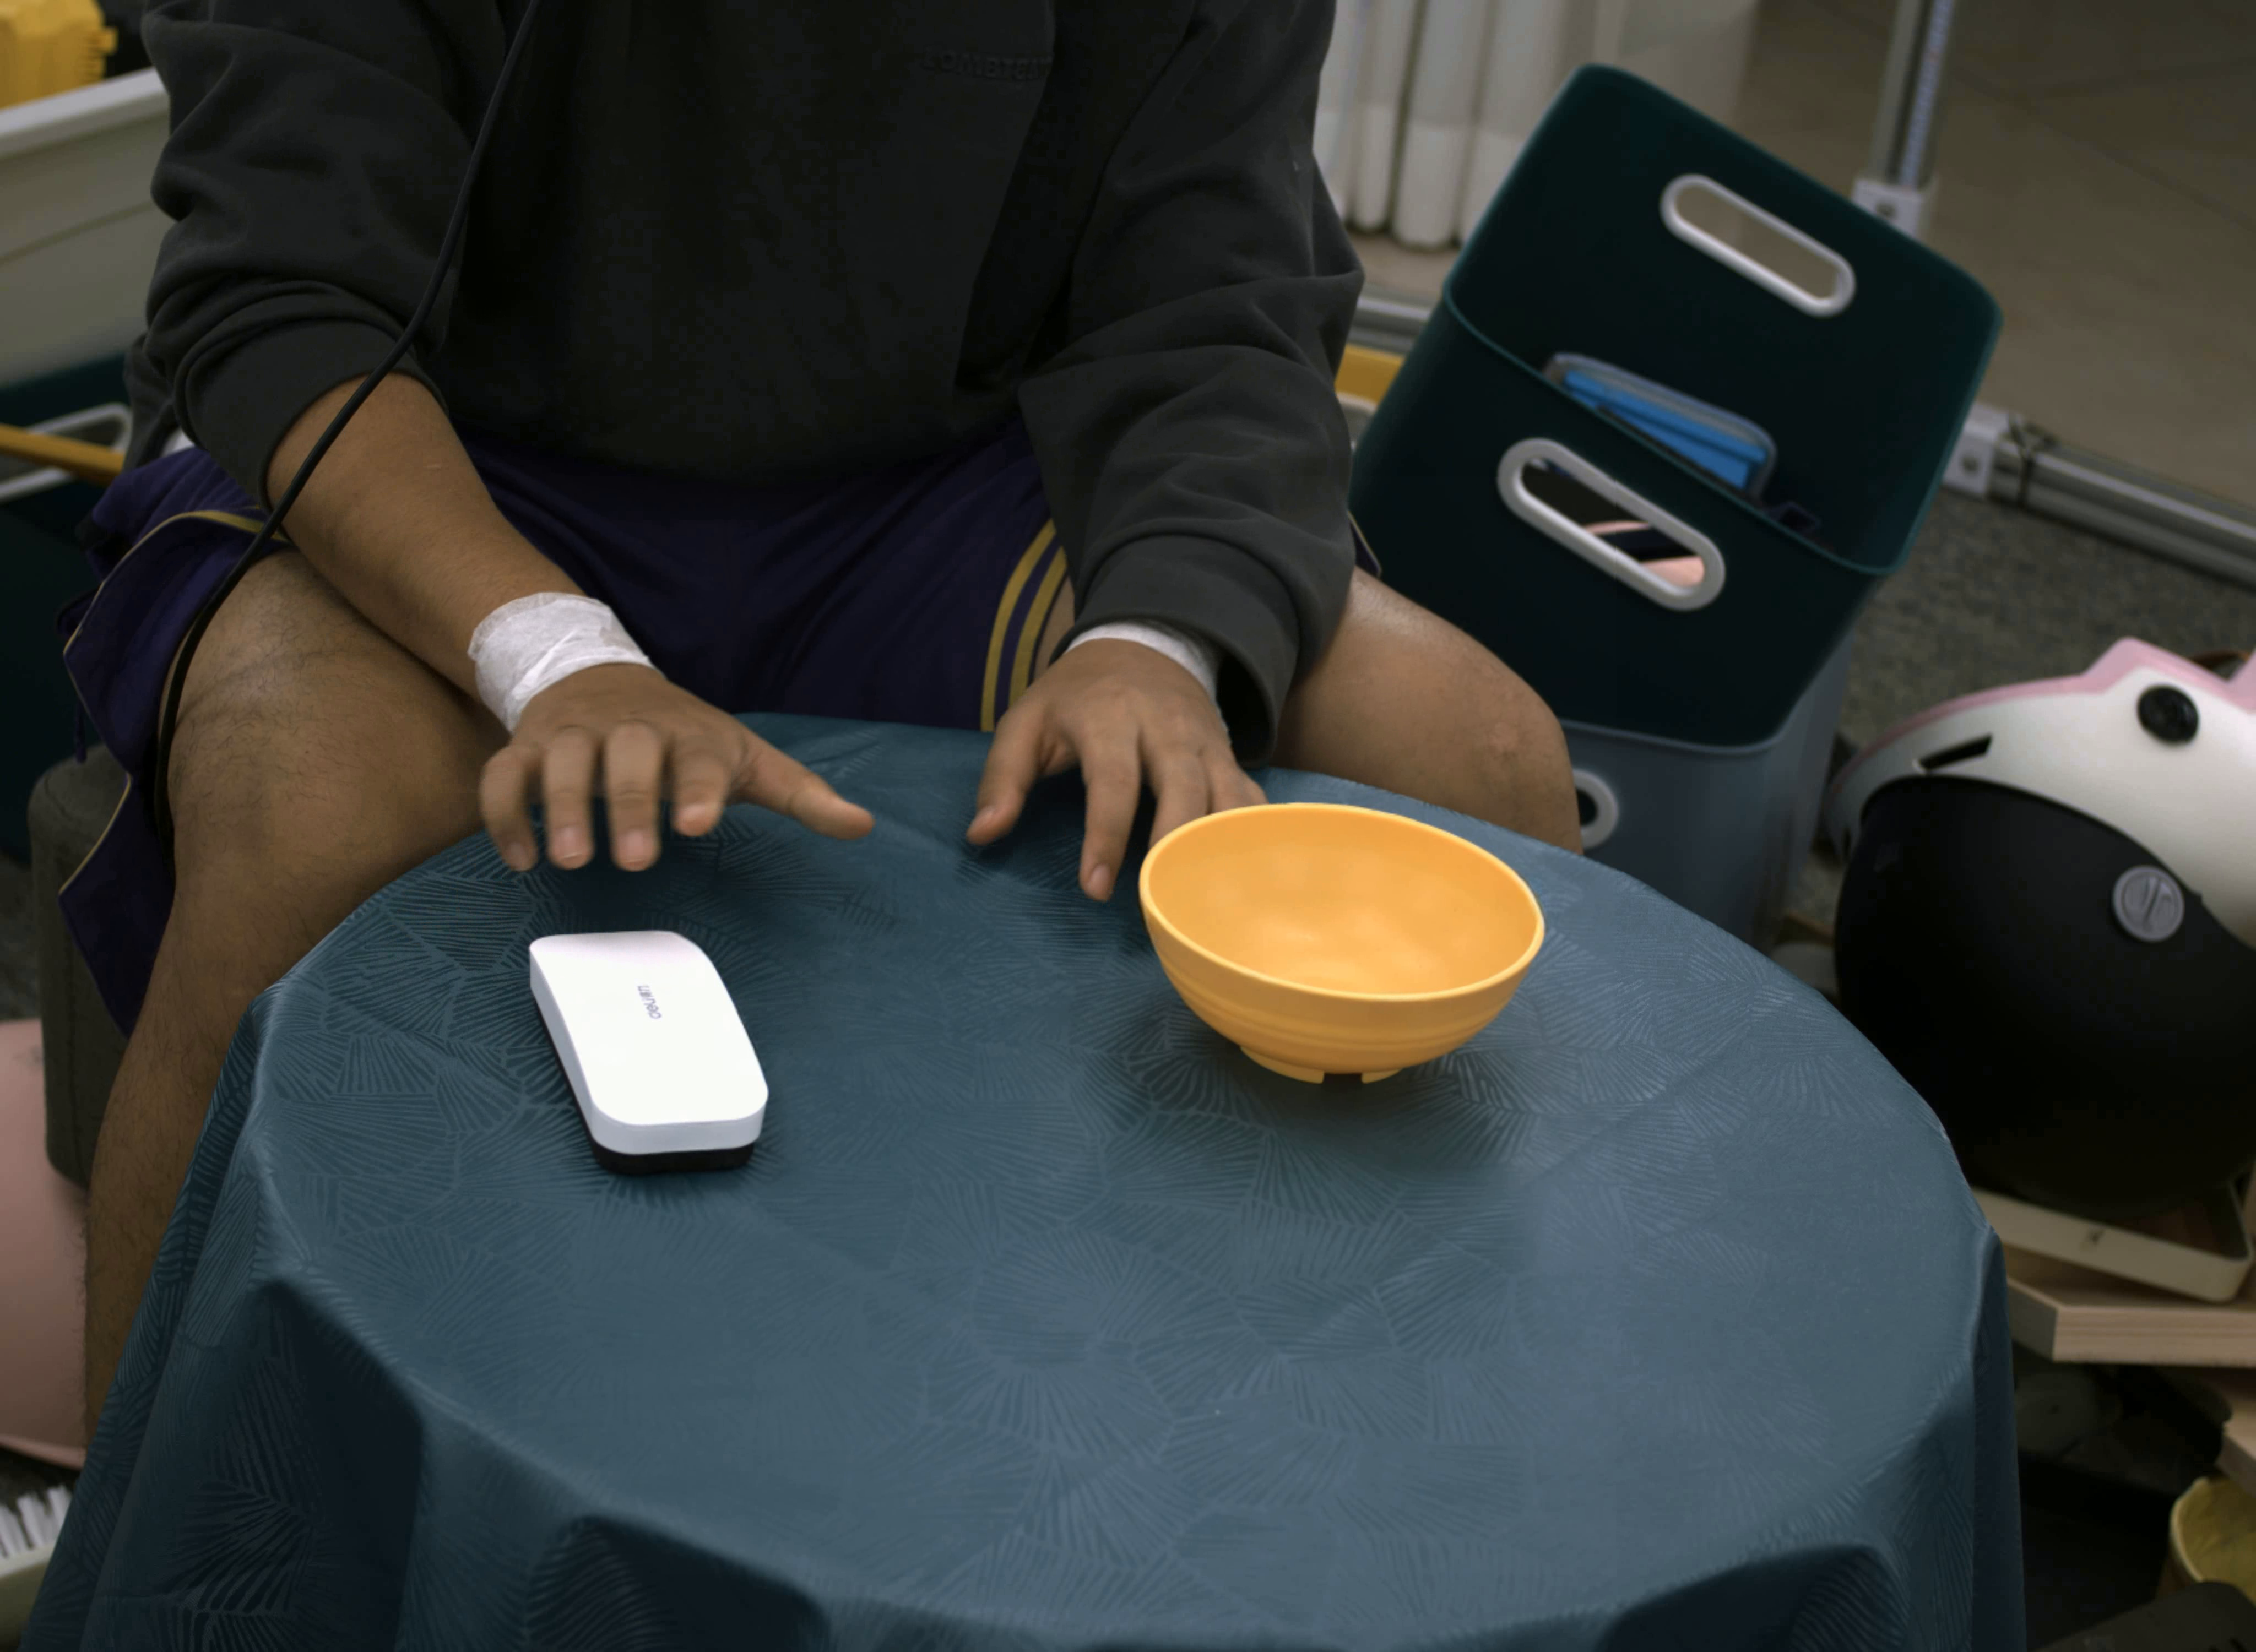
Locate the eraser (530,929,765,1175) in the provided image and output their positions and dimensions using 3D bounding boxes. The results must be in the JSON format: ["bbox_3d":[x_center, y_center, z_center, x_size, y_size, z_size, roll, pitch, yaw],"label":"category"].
[{"bbox_3d":[-0.165,0.074,1.828,0.063,0.034,0.132,-2,29,-17],"label":"eraser"}]

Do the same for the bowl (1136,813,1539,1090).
[{"bbox_3d":[0.071,0.053,1.897,0.145,0.060,0.146,5,25,-3],"label":"bowl"}]
